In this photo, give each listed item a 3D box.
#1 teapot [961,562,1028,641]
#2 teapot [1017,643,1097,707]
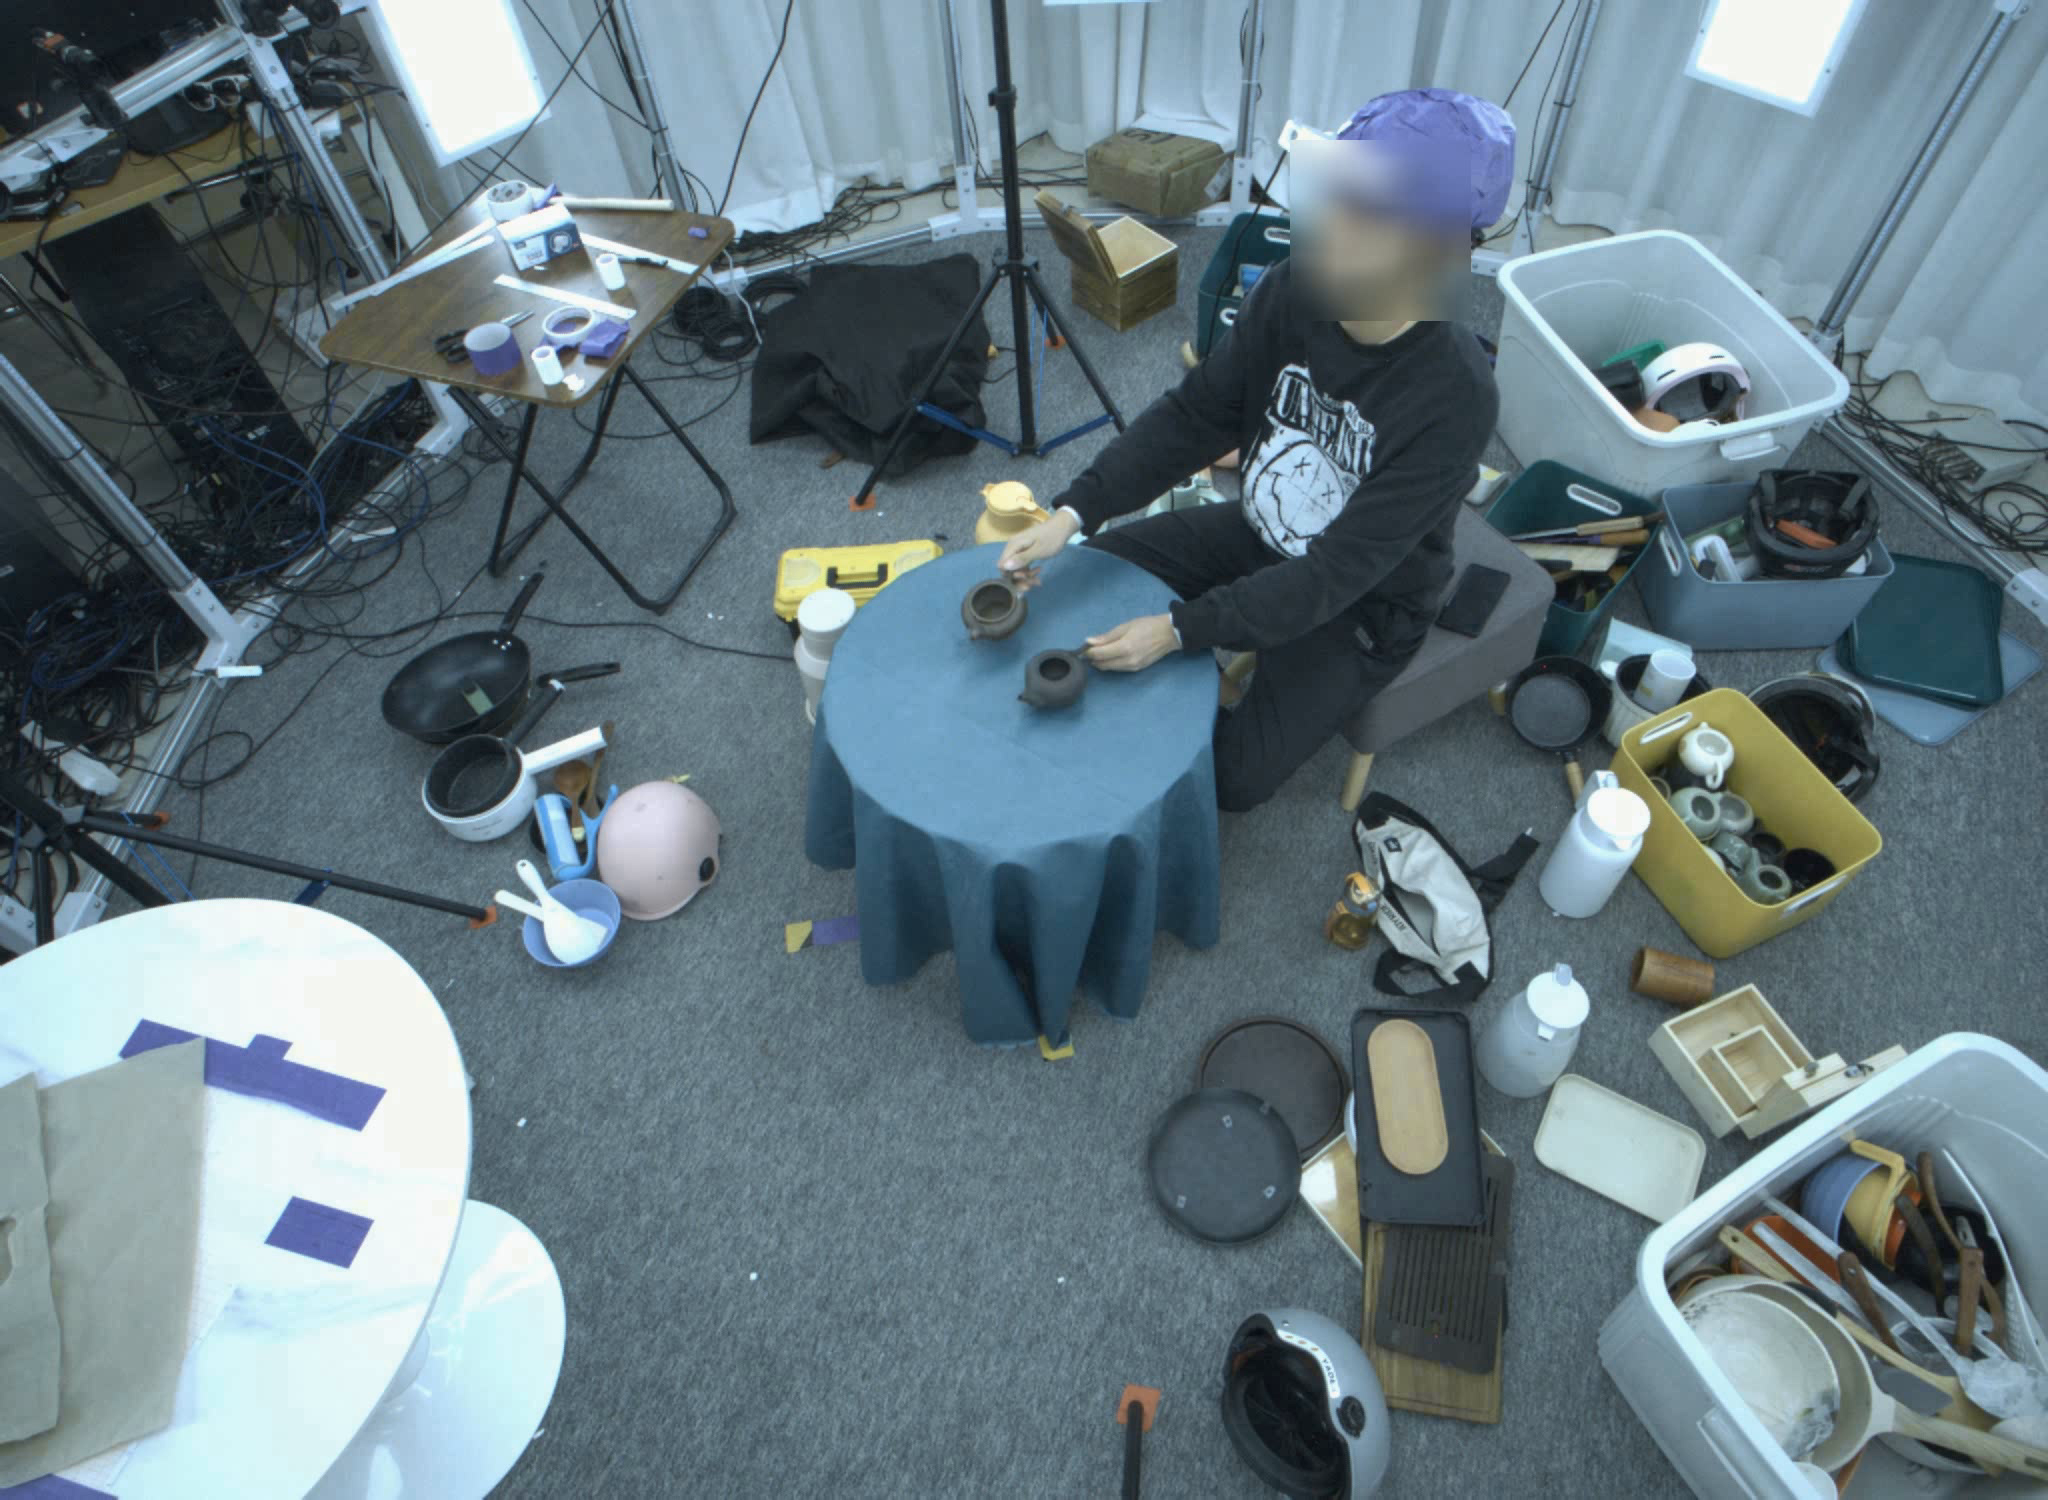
[{"bbox_3d":[-0.044,-0.220,1.865,0.102,0.054,0.153,17,69,9],"label":"teapot"},{"bbox_3d":[0.049,-0.107,1.818,0.155,0.065,0.091,-38,63,-20],"label":"teapot"}]
